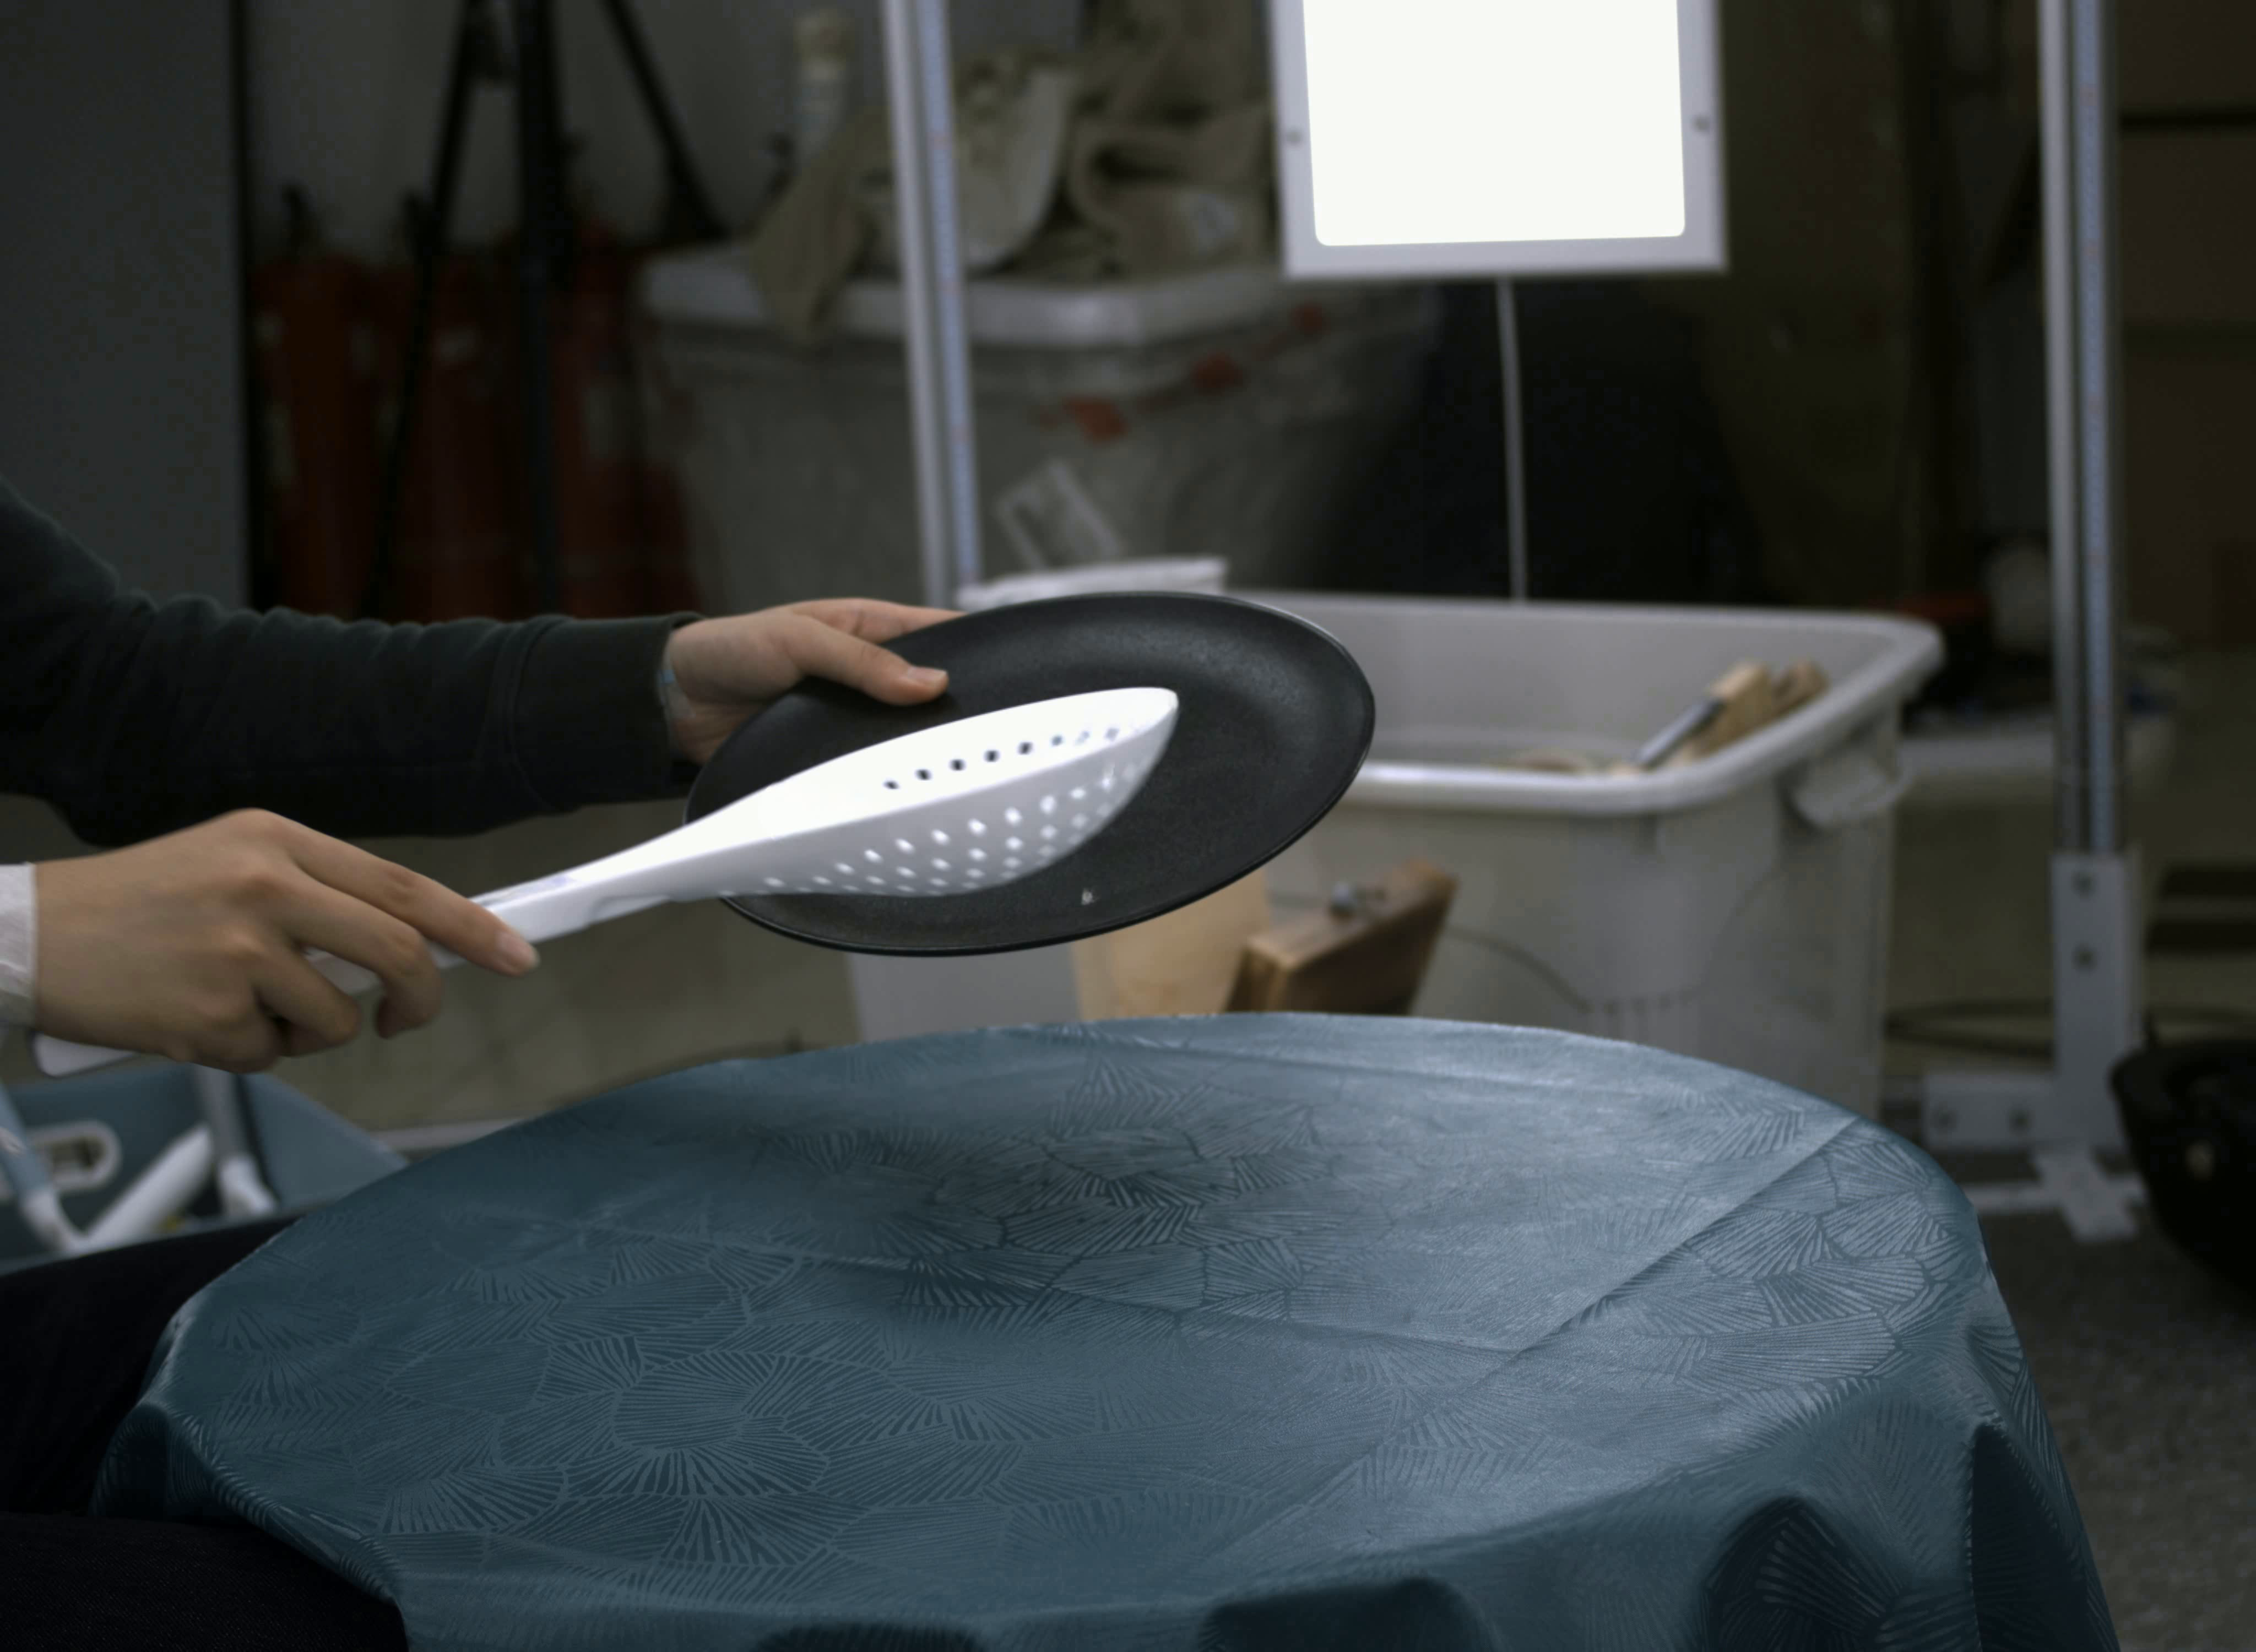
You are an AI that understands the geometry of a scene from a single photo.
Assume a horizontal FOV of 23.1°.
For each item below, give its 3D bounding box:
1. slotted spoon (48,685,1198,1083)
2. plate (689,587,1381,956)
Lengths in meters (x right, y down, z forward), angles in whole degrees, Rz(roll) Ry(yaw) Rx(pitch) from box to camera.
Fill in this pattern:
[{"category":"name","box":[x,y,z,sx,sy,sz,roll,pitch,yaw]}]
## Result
[{"category":"slotted spoon","box":[-0.144,0.017,1.613,0.346,0.046,0.137,-12,9,-10]},{"category":"plate","box":[-0.031,-0.014,1.895,0.245,0.023,0.244,-11,29,5]}]
